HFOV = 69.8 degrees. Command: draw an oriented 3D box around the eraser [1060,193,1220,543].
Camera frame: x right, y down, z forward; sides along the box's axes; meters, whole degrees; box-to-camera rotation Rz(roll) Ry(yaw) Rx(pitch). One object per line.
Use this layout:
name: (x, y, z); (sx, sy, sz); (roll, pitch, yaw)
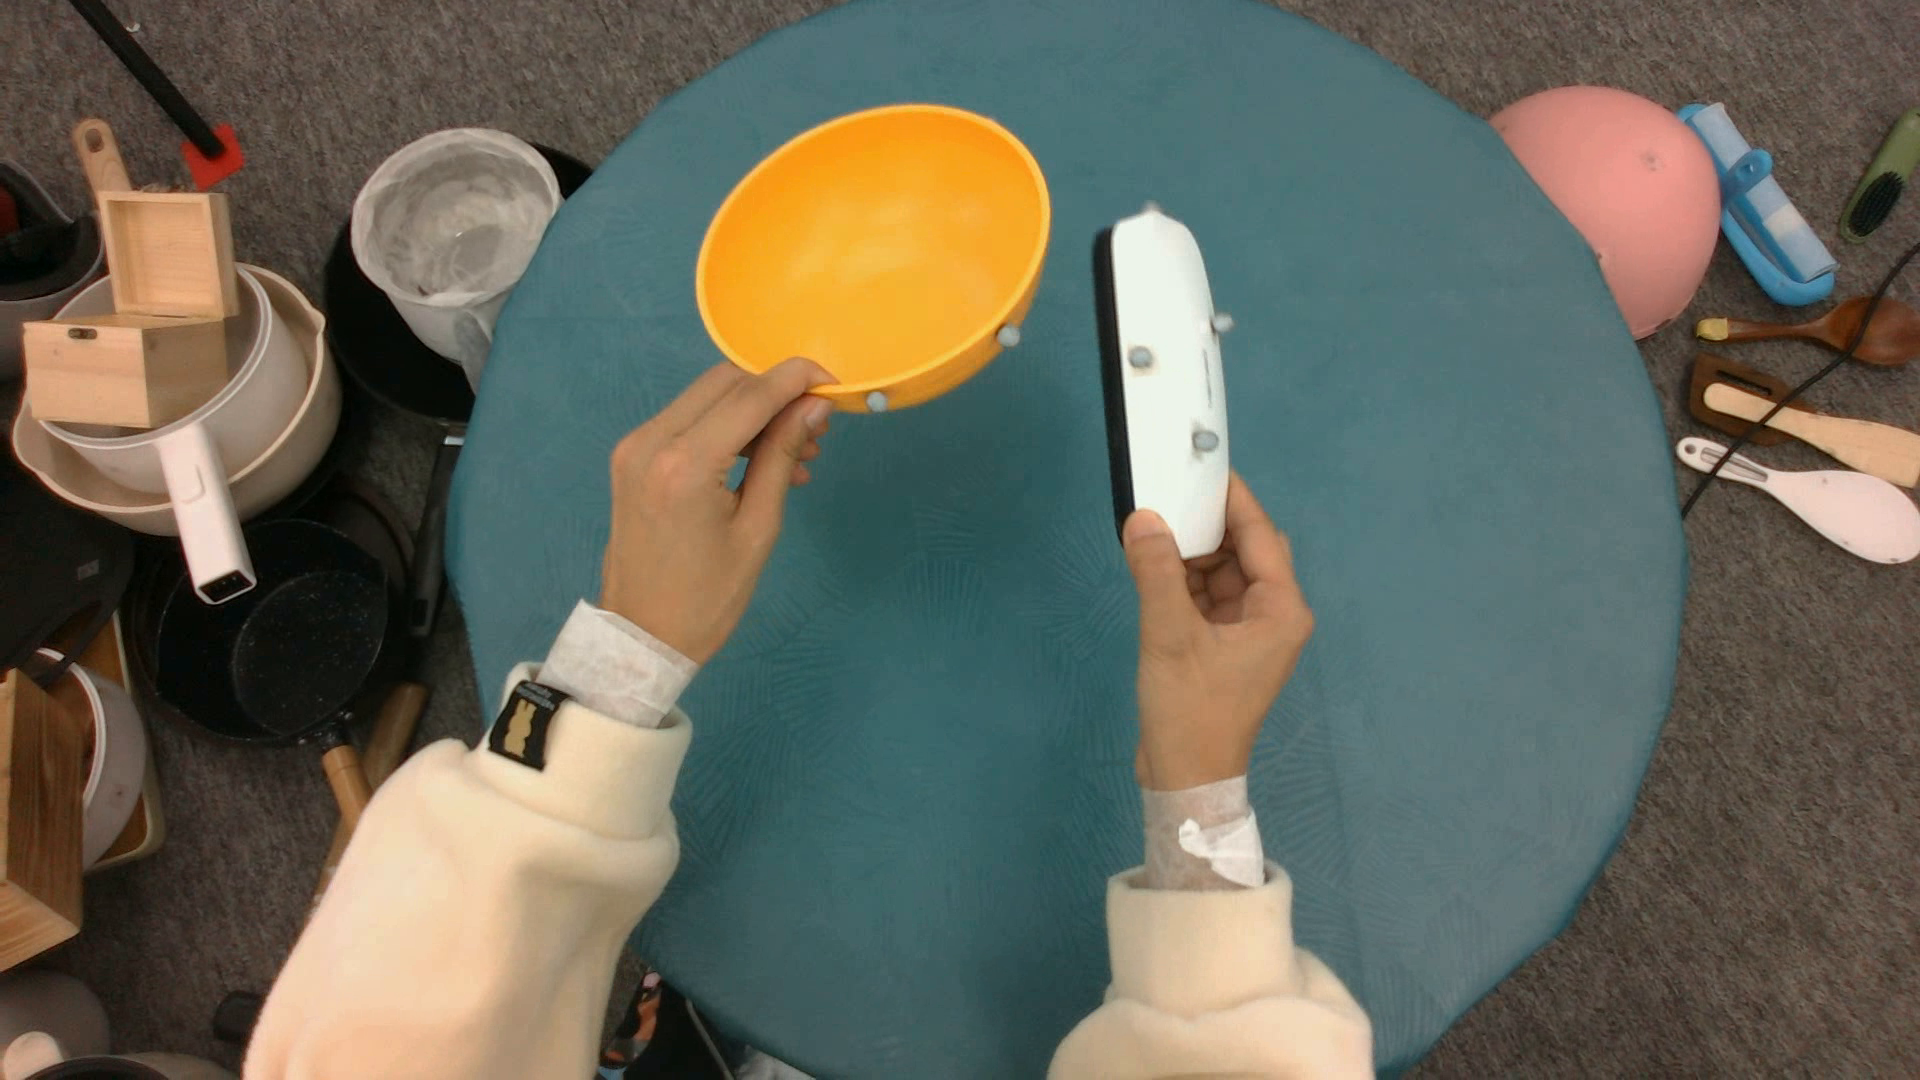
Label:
eraser: (0.071, -0.064, 0.524); (0.034, 0.063, 0.131); (-8, 90, 31)

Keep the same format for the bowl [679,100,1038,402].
bowl: (-0.036, -0.107, 0.564); (0.145, 0.060, 0.146); (-5, 59, 9)
